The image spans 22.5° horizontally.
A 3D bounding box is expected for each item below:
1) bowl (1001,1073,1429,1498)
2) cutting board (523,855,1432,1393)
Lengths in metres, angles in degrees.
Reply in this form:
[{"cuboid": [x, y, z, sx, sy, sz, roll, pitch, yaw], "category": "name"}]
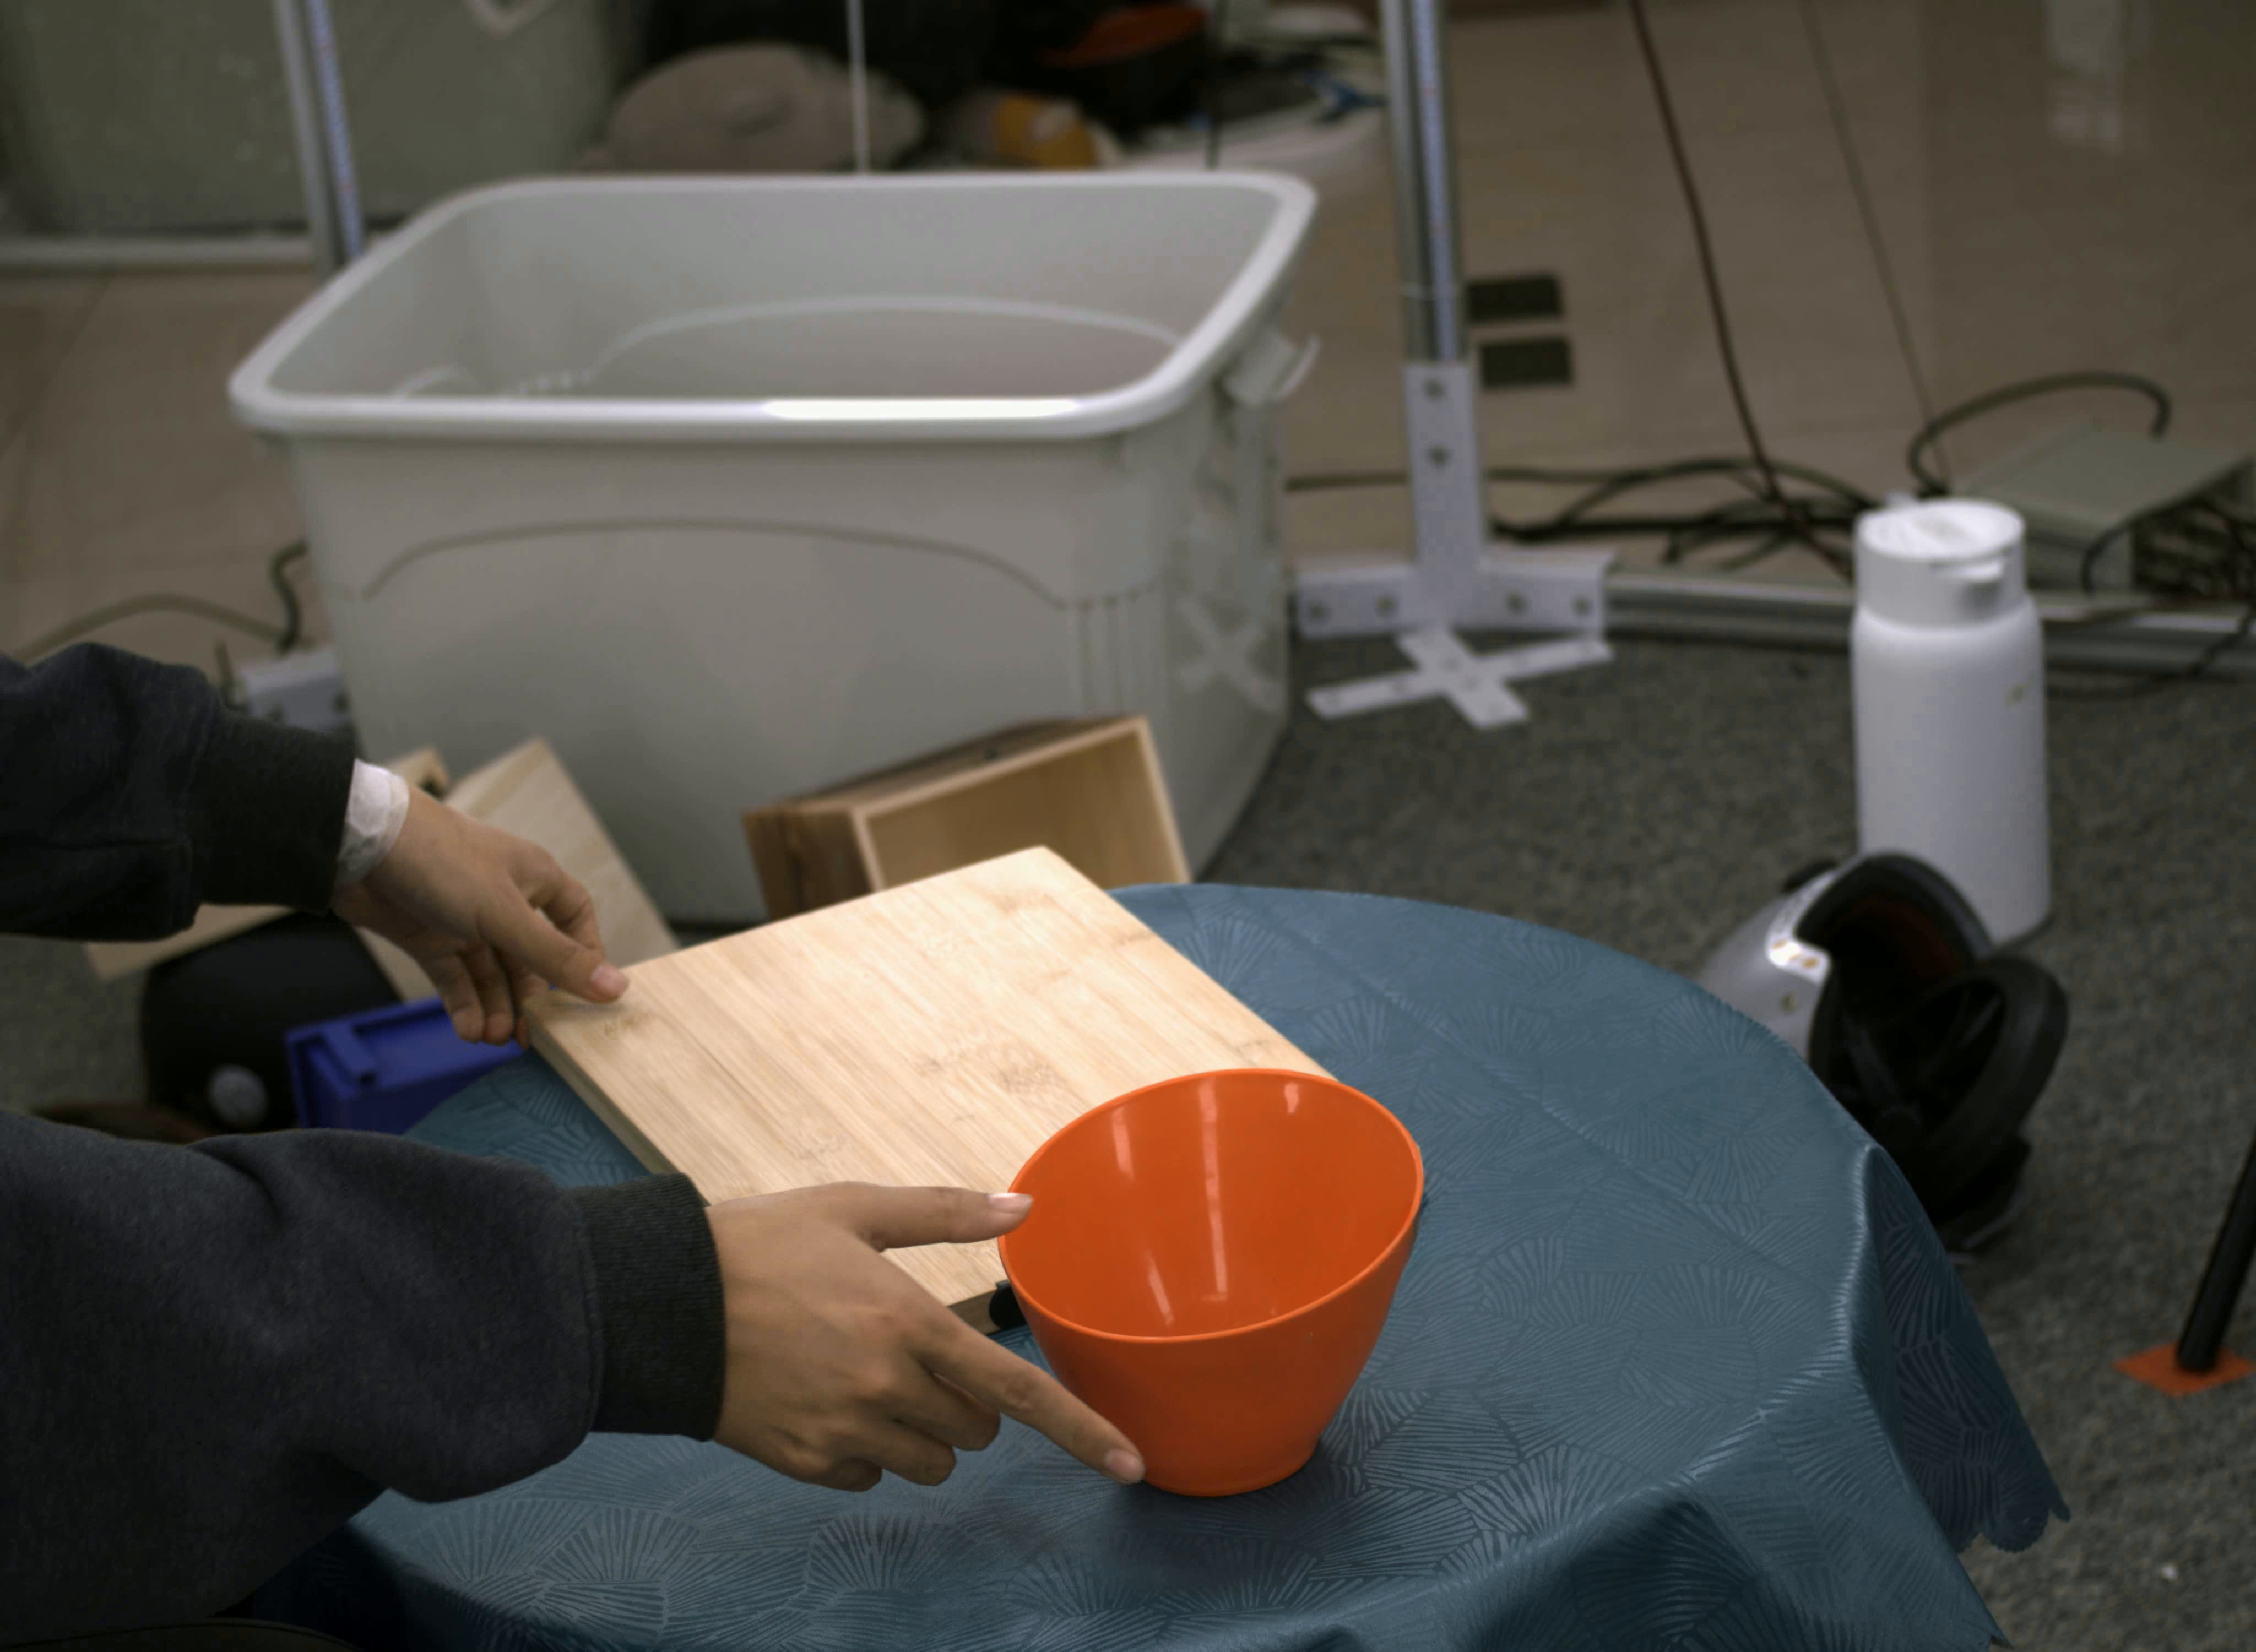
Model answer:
[{"cuboid": [0.032, 0.165, 1.960, 0.148, 0.106, 0.146, -3, 26, 2], "category": "bowl"}, {"cuboid": [-0.066, 0.107, 2.213, 0.249, 0.024, 0.344, -18, 27, -21], "category": "cutting board"}]
